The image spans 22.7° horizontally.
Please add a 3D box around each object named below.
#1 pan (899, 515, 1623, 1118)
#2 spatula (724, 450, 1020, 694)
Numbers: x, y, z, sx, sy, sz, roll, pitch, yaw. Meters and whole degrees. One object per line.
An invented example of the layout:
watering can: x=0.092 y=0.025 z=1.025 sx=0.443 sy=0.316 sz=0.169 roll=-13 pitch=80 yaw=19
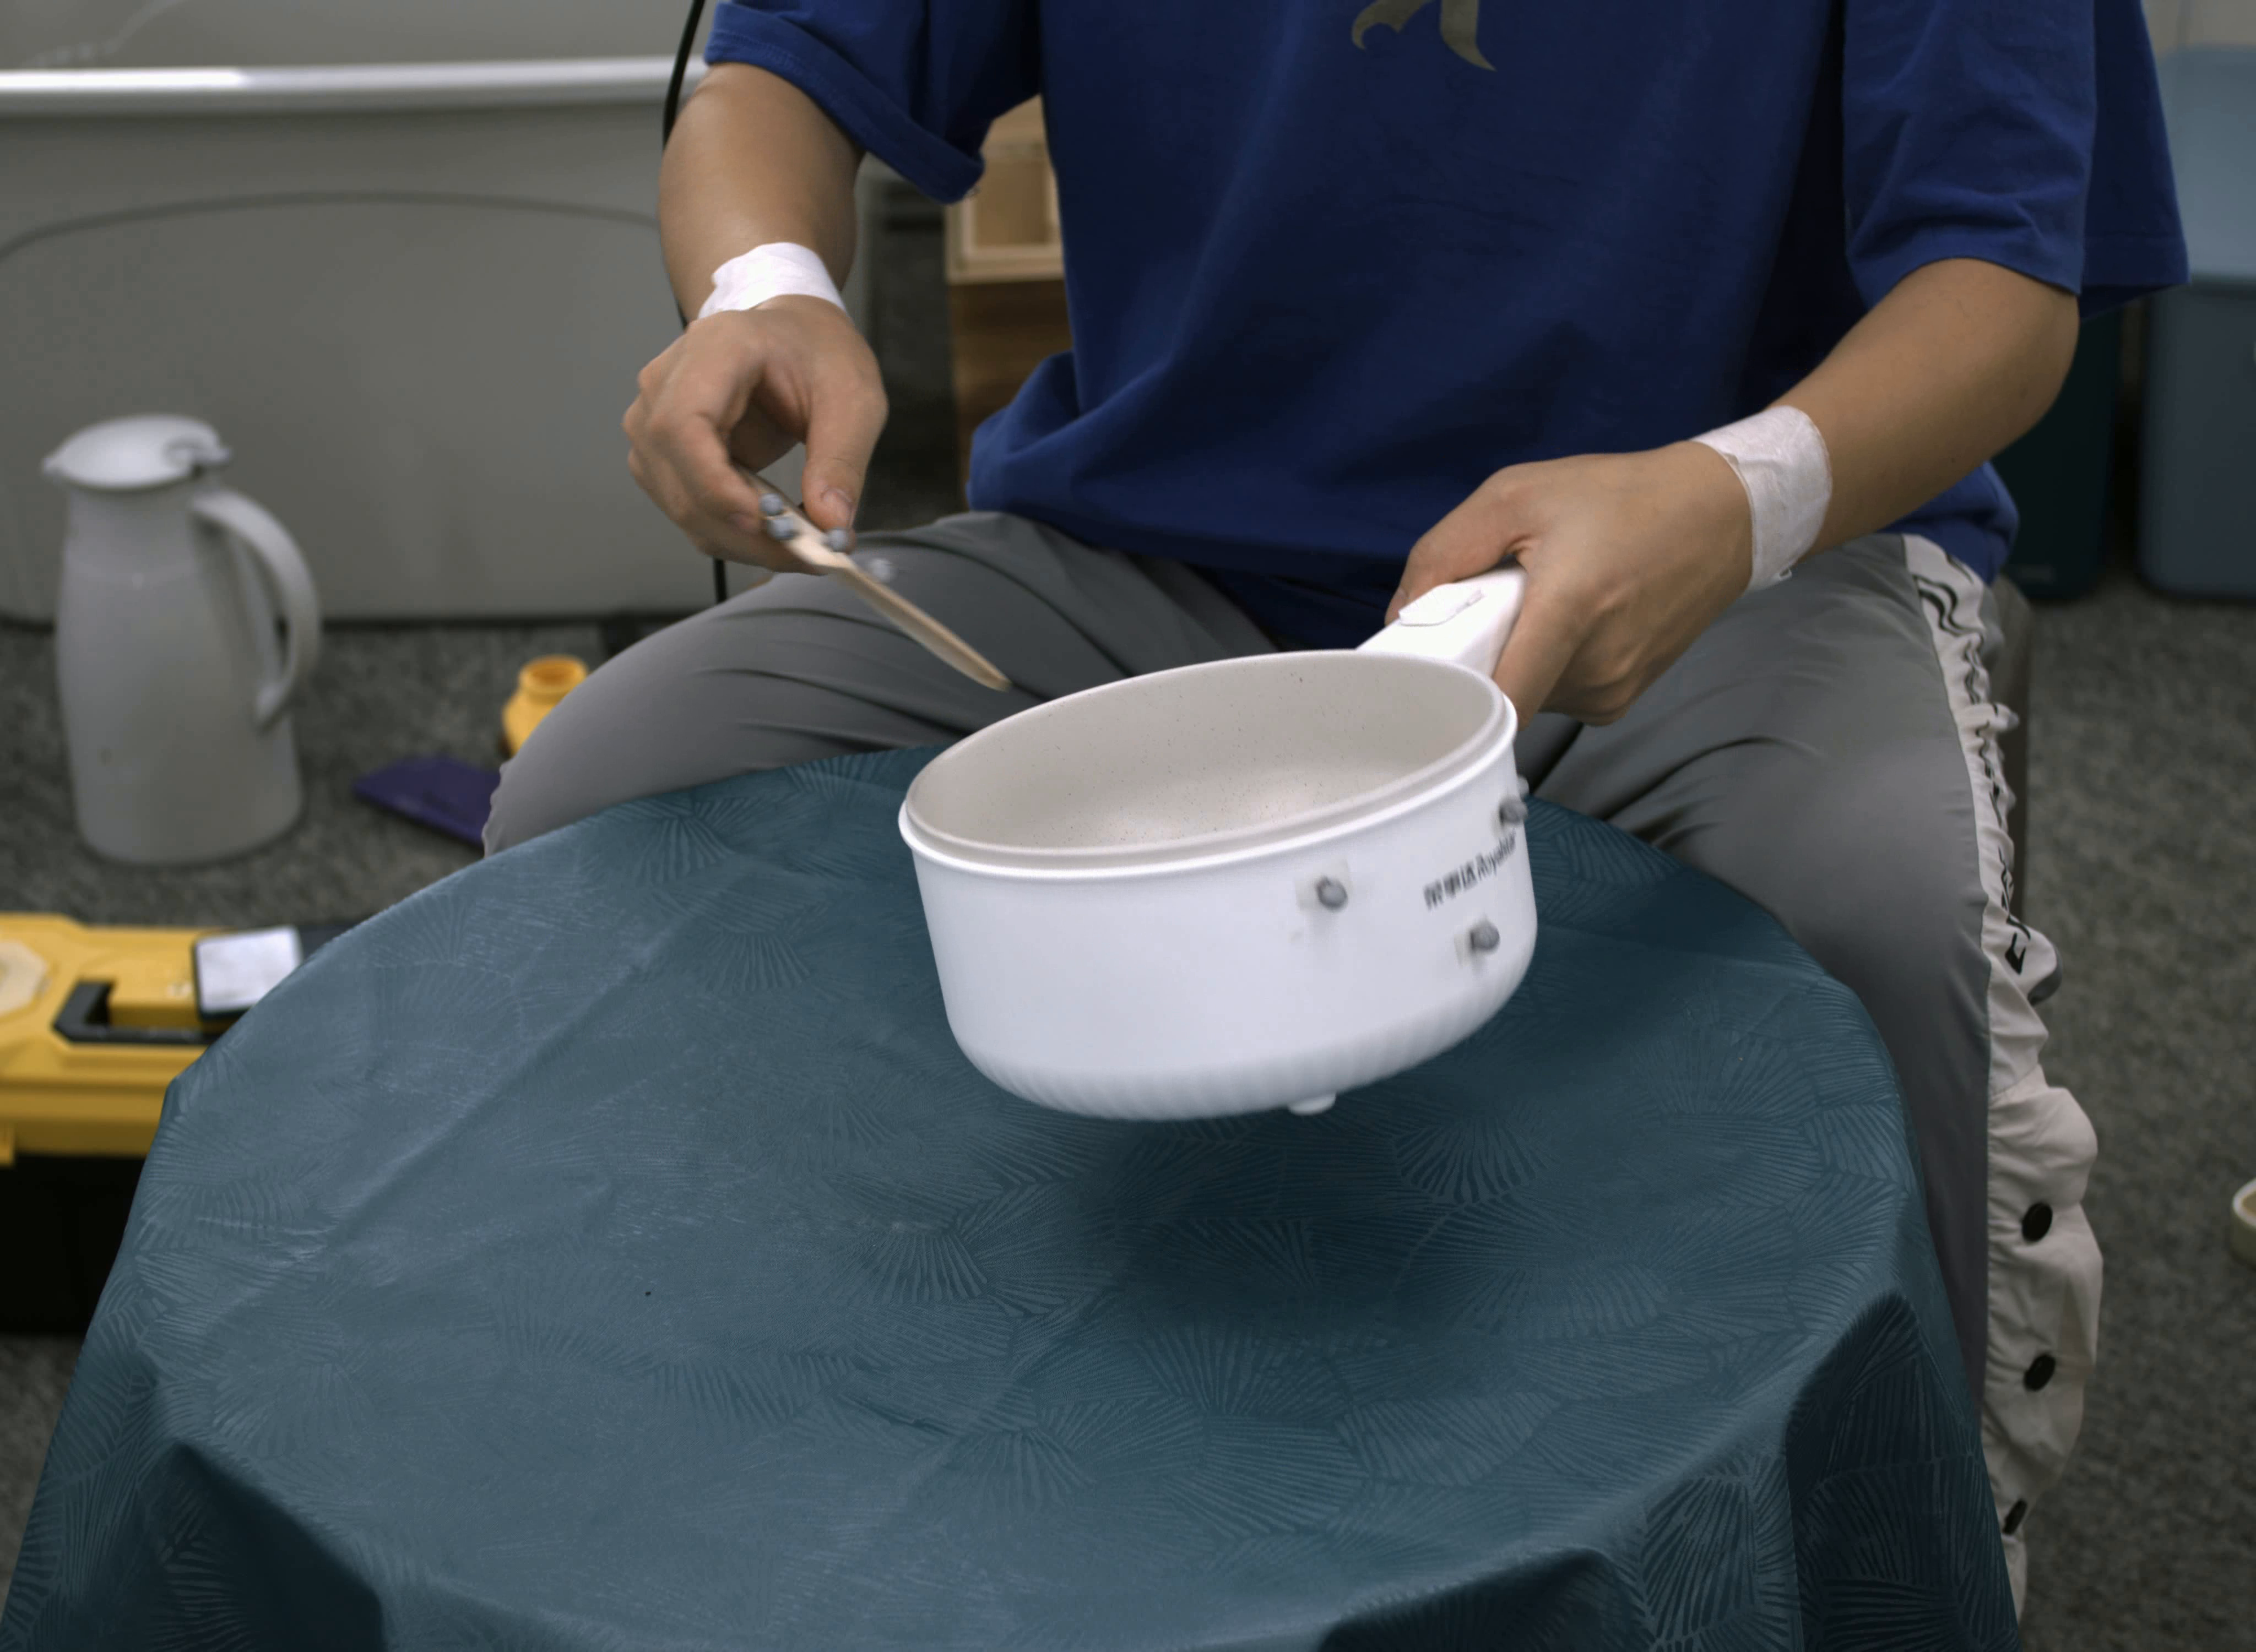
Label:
pan: x=0.072 y=-0.005 z=1.876 sx=0.199 sy=0.101 sz=0.360 roll=-3 pitch=18 yaw=33
spatula: x=-0.099 y=-0.094 z=1.897 sx=0.072 sy=0.010 sz=0.294 roll=37 pitch=2 yaw=-20
